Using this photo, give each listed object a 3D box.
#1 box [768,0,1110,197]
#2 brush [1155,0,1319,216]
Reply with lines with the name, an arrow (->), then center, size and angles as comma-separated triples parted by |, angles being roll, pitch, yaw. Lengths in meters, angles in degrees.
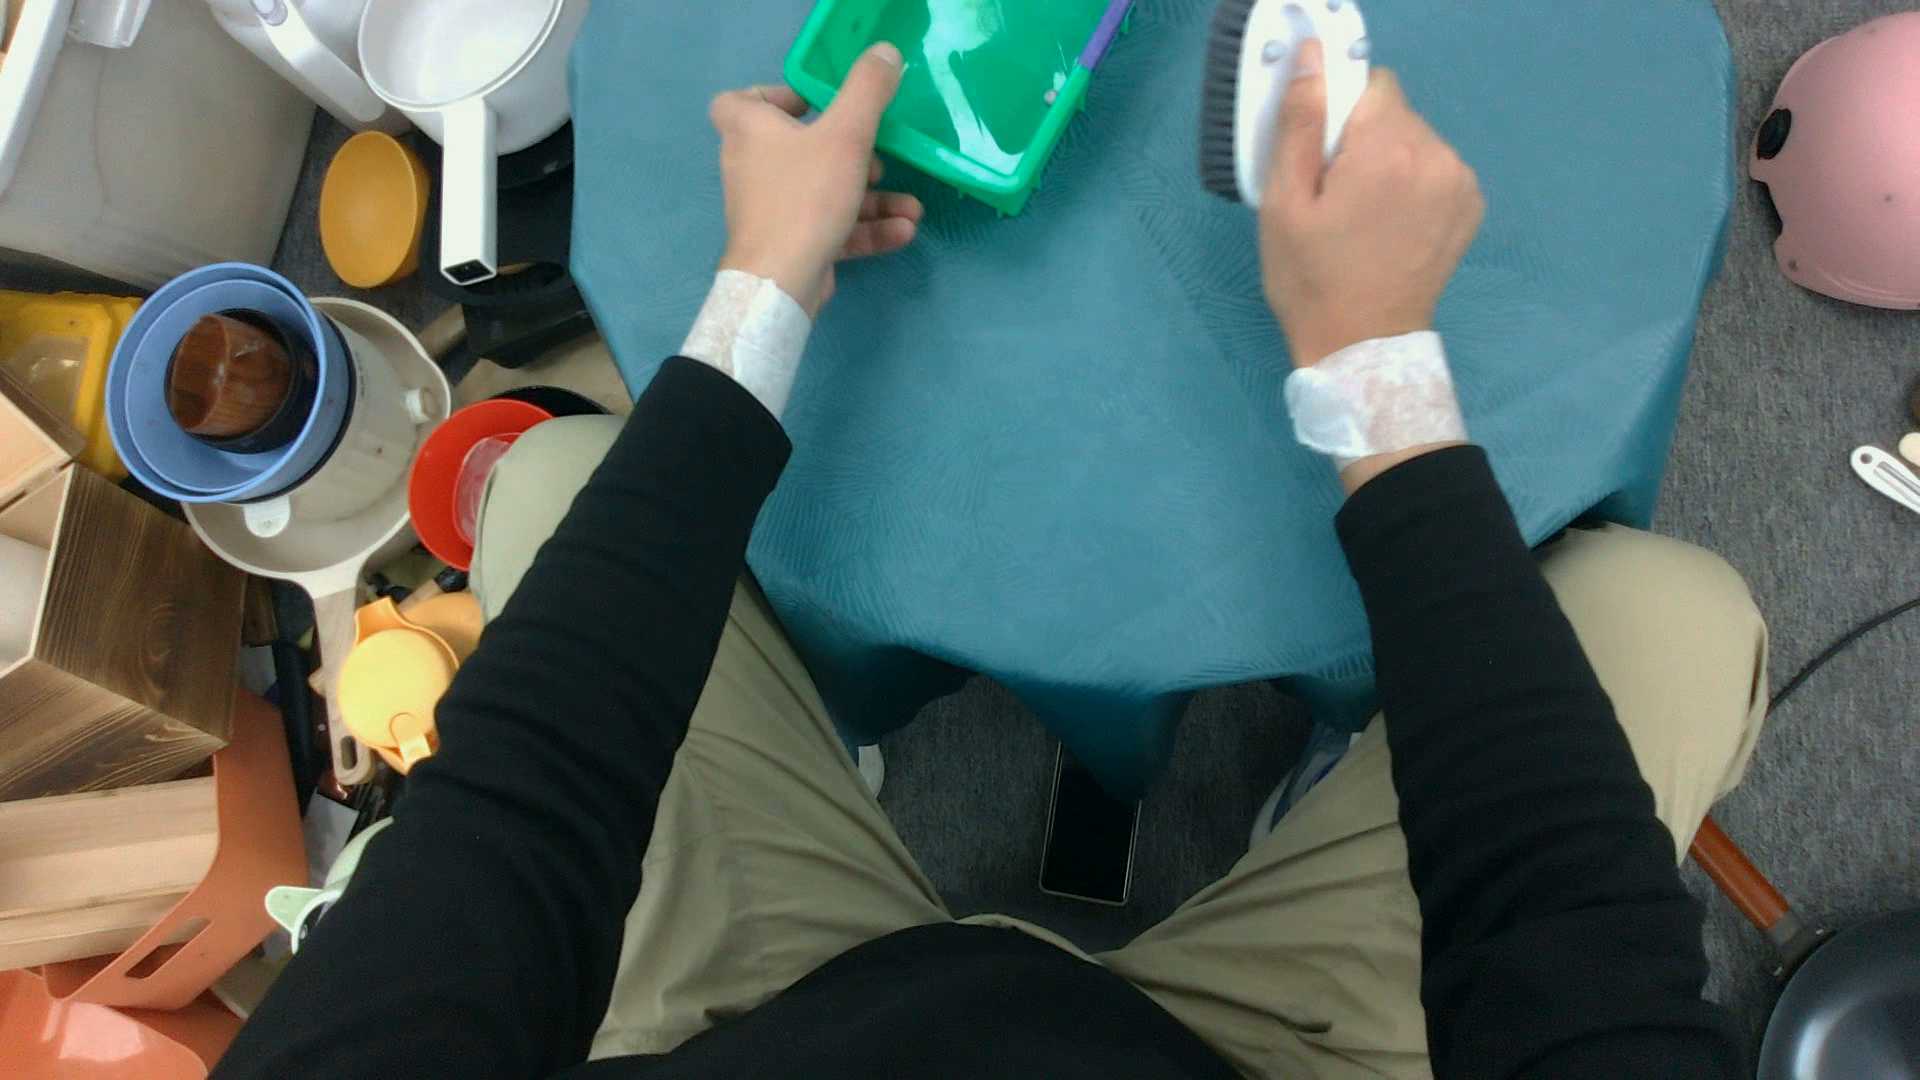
box -> 0.009, -0.287, 0.705 | 0.138, 0.065, 0.210 | 27, 85, 5
brush -> 0.127, -0.191, 0.604 | 0.050, 0.072, 0.099 | -17, 120, -25
